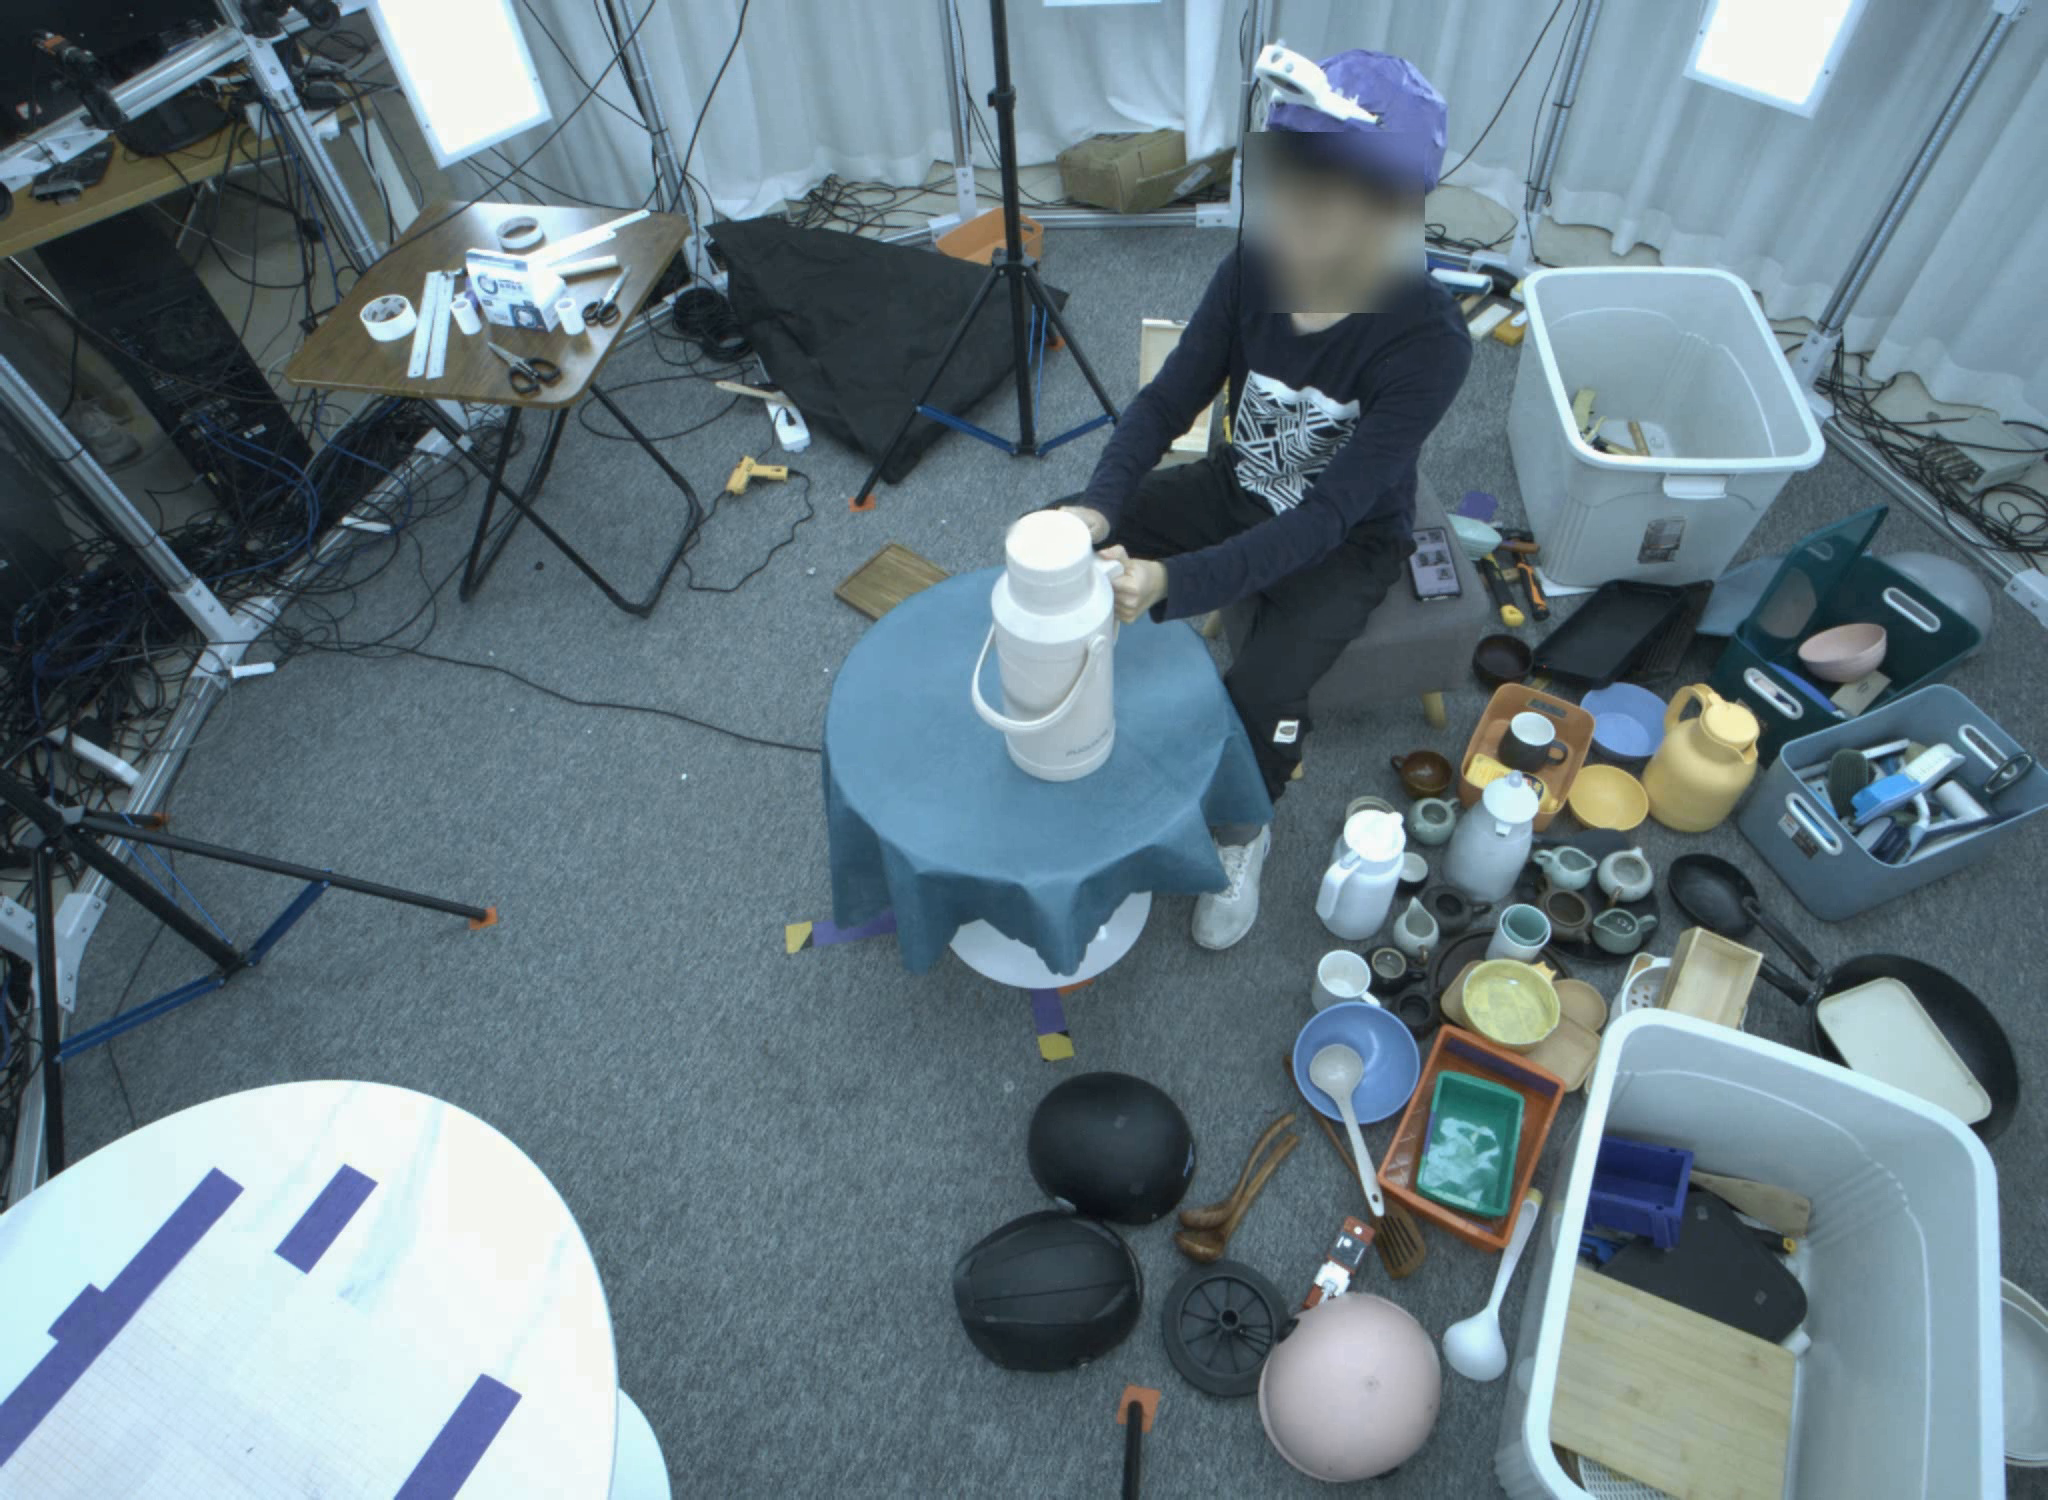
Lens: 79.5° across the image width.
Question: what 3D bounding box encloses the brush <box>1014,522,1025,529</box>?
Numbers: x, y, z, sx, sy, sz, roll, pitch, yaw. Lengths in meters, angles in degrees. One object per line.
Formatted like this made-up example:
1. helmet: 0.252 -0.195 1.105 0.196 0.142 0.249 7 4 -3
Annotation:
1. brush: 0.044 -0.281 1.681 0.034 0.246 0.050 -32 84 20

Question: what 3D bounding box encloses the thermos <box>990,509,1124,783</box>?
1. thermos: 0.052 -0.141 1.633 0.208 0.411 0.172 -39 59 -22
